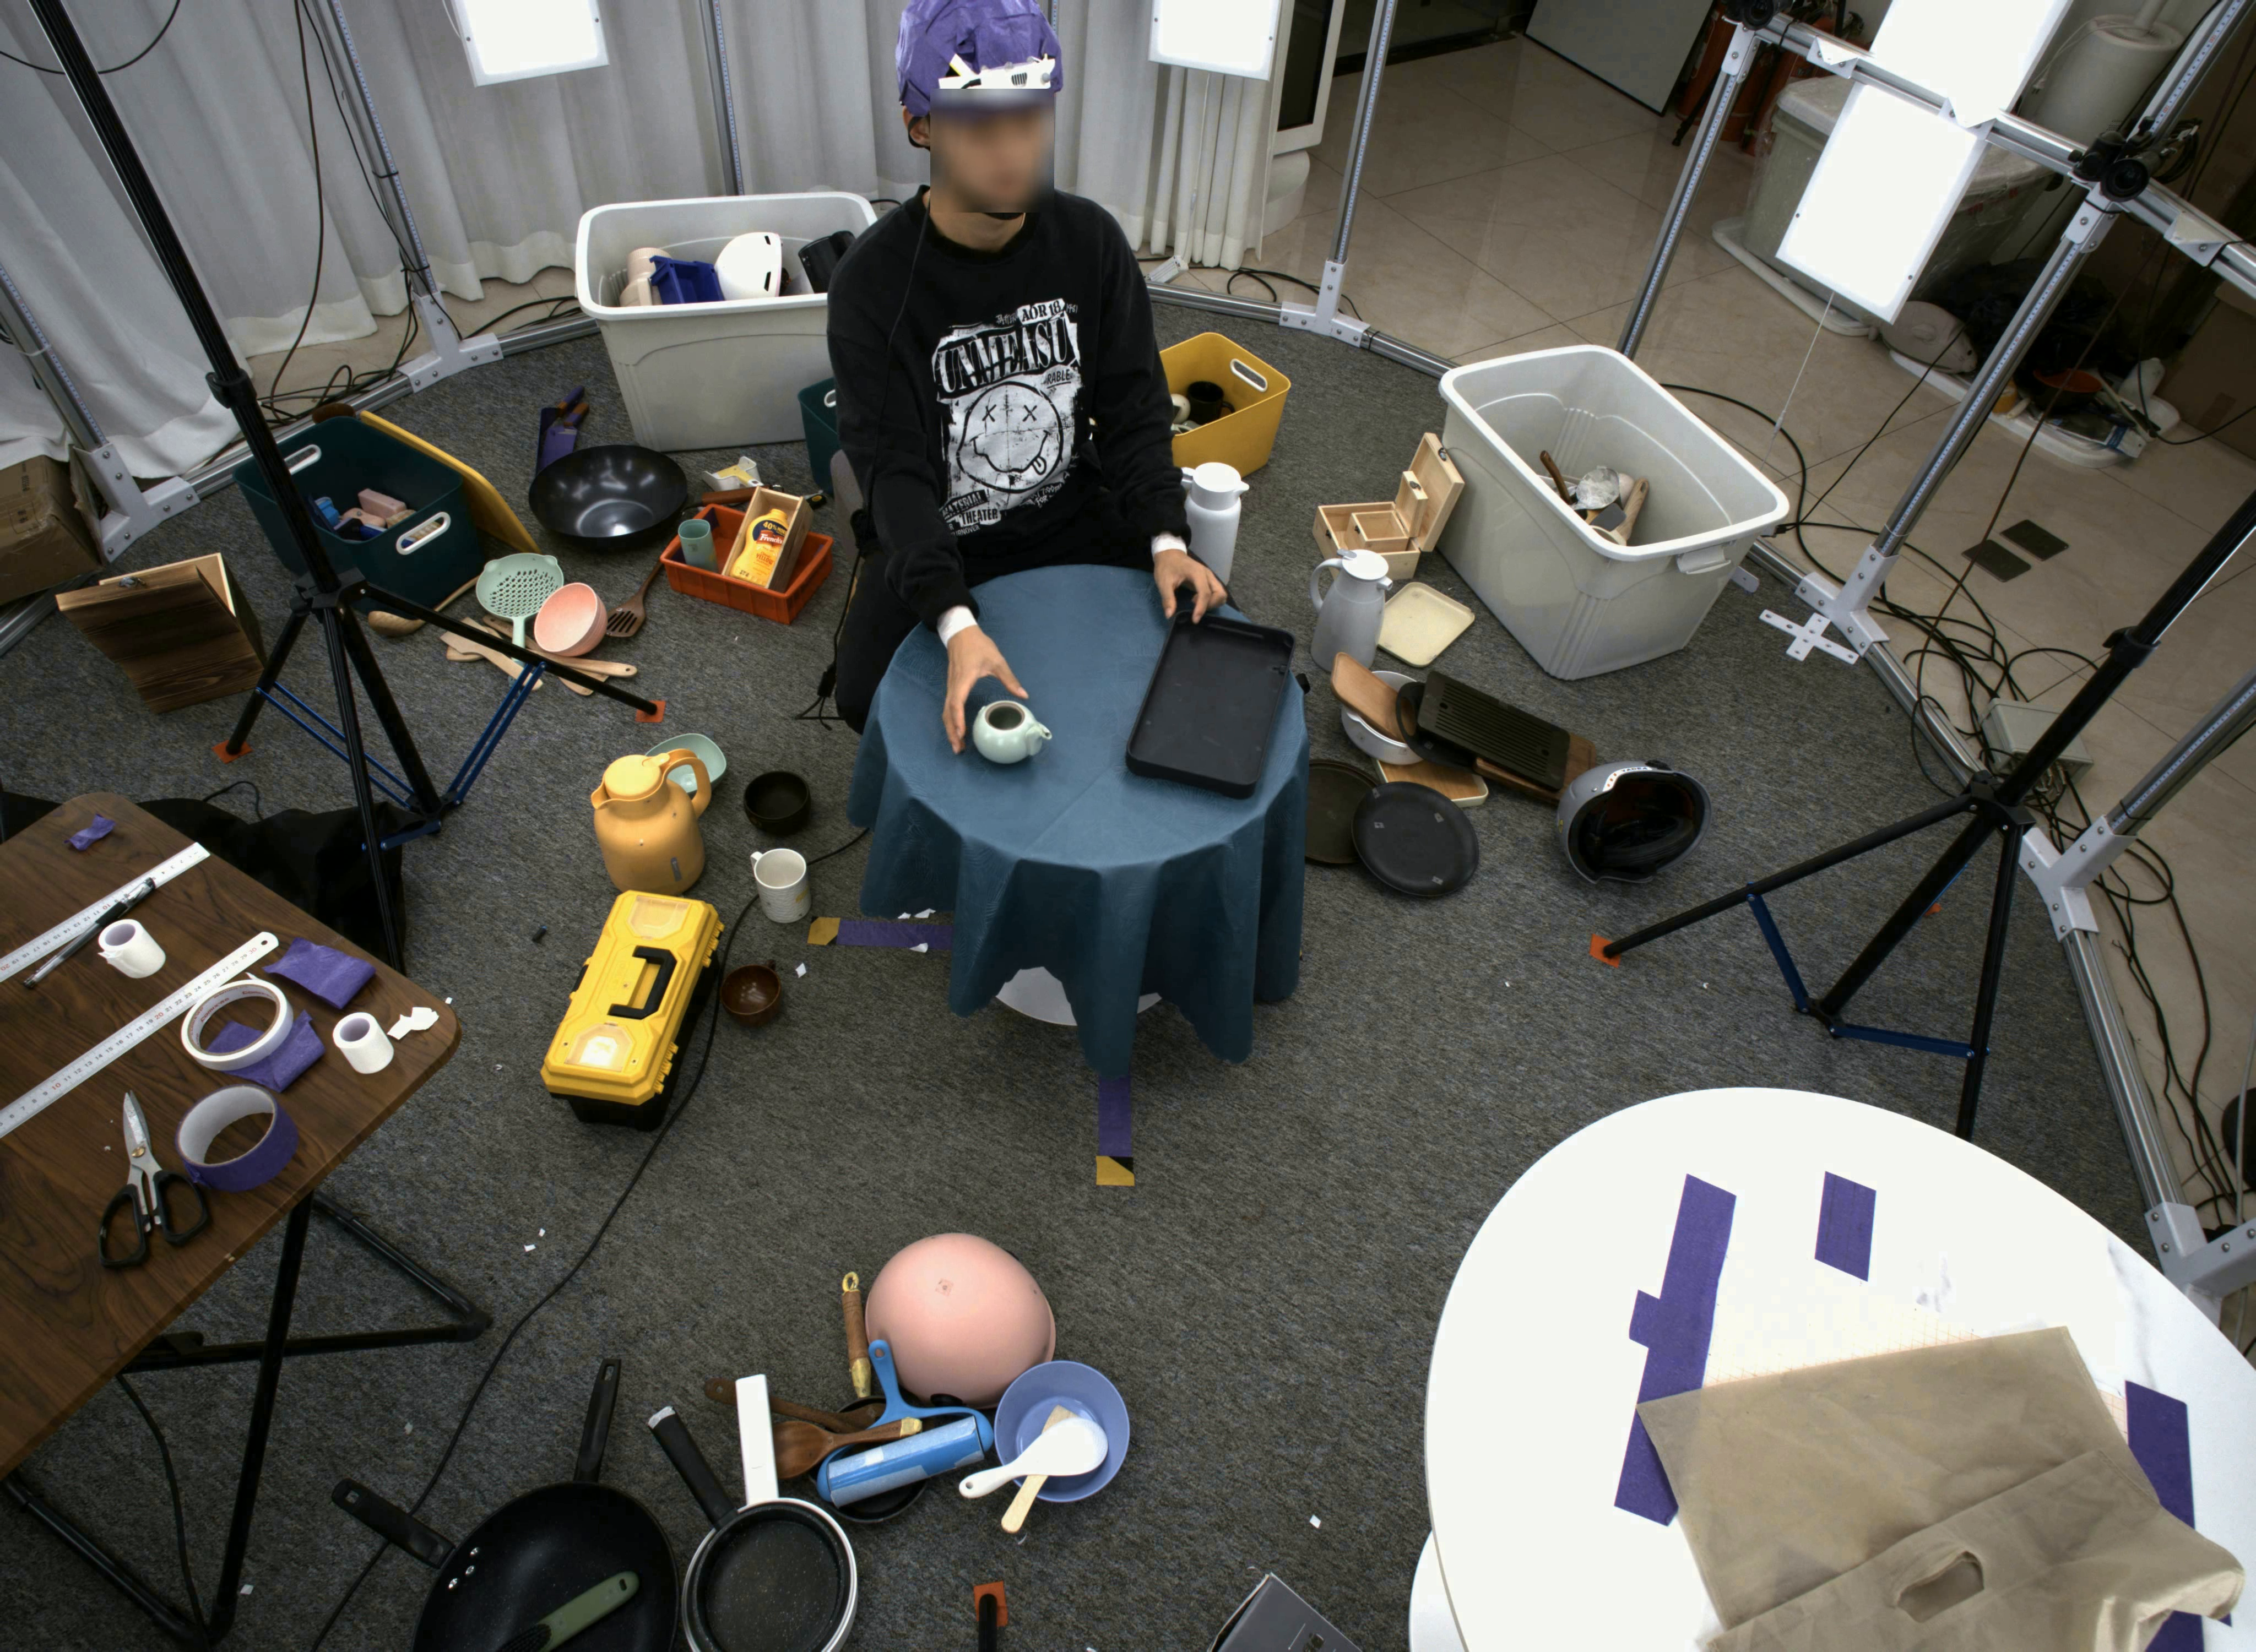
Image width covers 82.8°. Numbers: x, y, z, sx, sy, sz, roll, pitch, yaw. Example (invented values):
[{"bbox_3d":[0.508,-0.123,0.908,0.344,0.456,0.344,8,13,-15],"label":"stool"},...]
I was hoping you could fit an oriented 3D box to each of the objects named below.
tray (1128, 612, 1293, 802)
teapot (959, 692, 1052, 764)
[{"bbox_3d":[0.119,-0.173,1.804,0.184,0.036,0.325,12,49,6],"label":"tray"},{"bbox_3d":[-0.165,-0.127,1.722,0.145,0.073,0.089,28,53,17],"label":"teapot"}]
